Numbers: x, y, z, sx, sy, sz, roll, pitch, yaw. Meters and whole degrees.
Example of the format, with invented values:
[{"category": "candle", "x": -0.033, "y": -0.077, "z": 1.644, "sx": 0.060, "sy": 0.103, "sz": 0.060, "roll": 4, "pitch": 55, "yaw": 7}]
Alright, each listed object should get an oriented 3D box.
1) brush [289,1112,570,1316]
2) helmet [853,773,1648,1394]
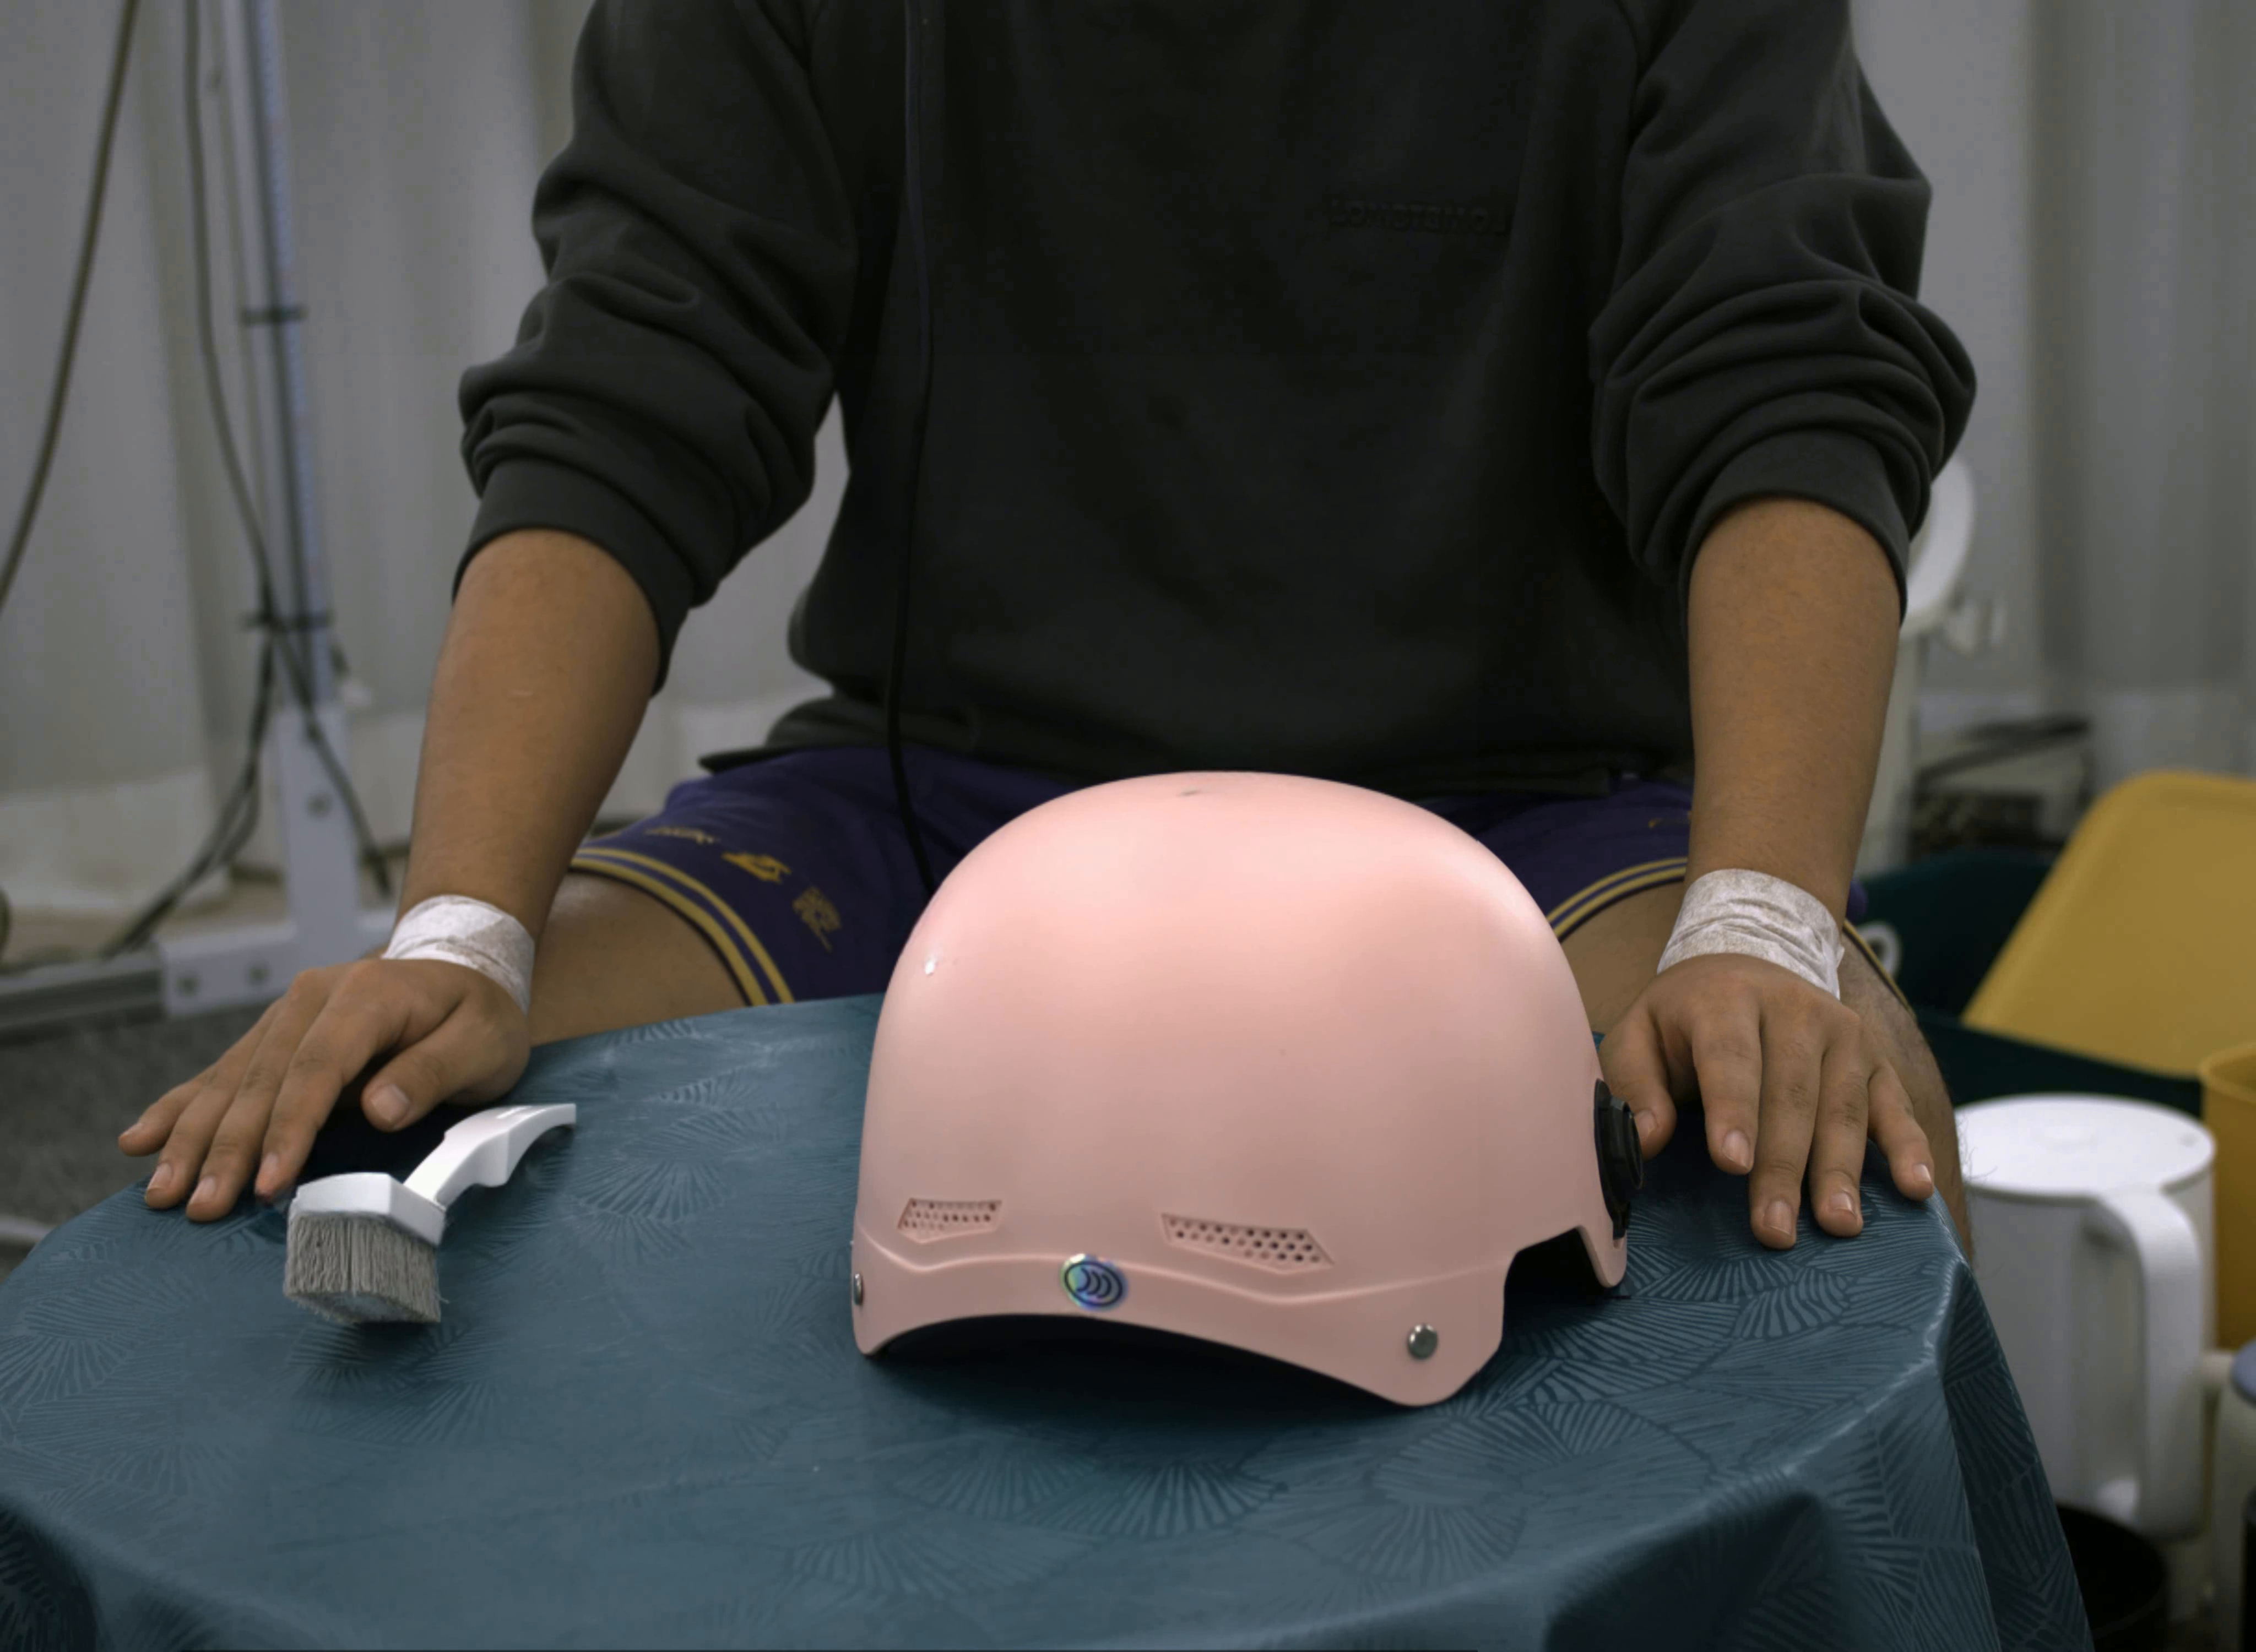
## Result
[{"category": "brush", "x": -0.211, "y": 0.120, "z": 1.696, "sx": 0.034, "sy": 0.050, "sz": 0.243, "roll": -4, "pitch": 1, "yaw": 8}, {"category": "helmet", "x": 0.034, "y": 0.062, "z": 1.619, "sx": 0.234, "sy": 0.158, "sz": 0.266, "roll": 2, "pitch": 11, "yaw": 22}]
